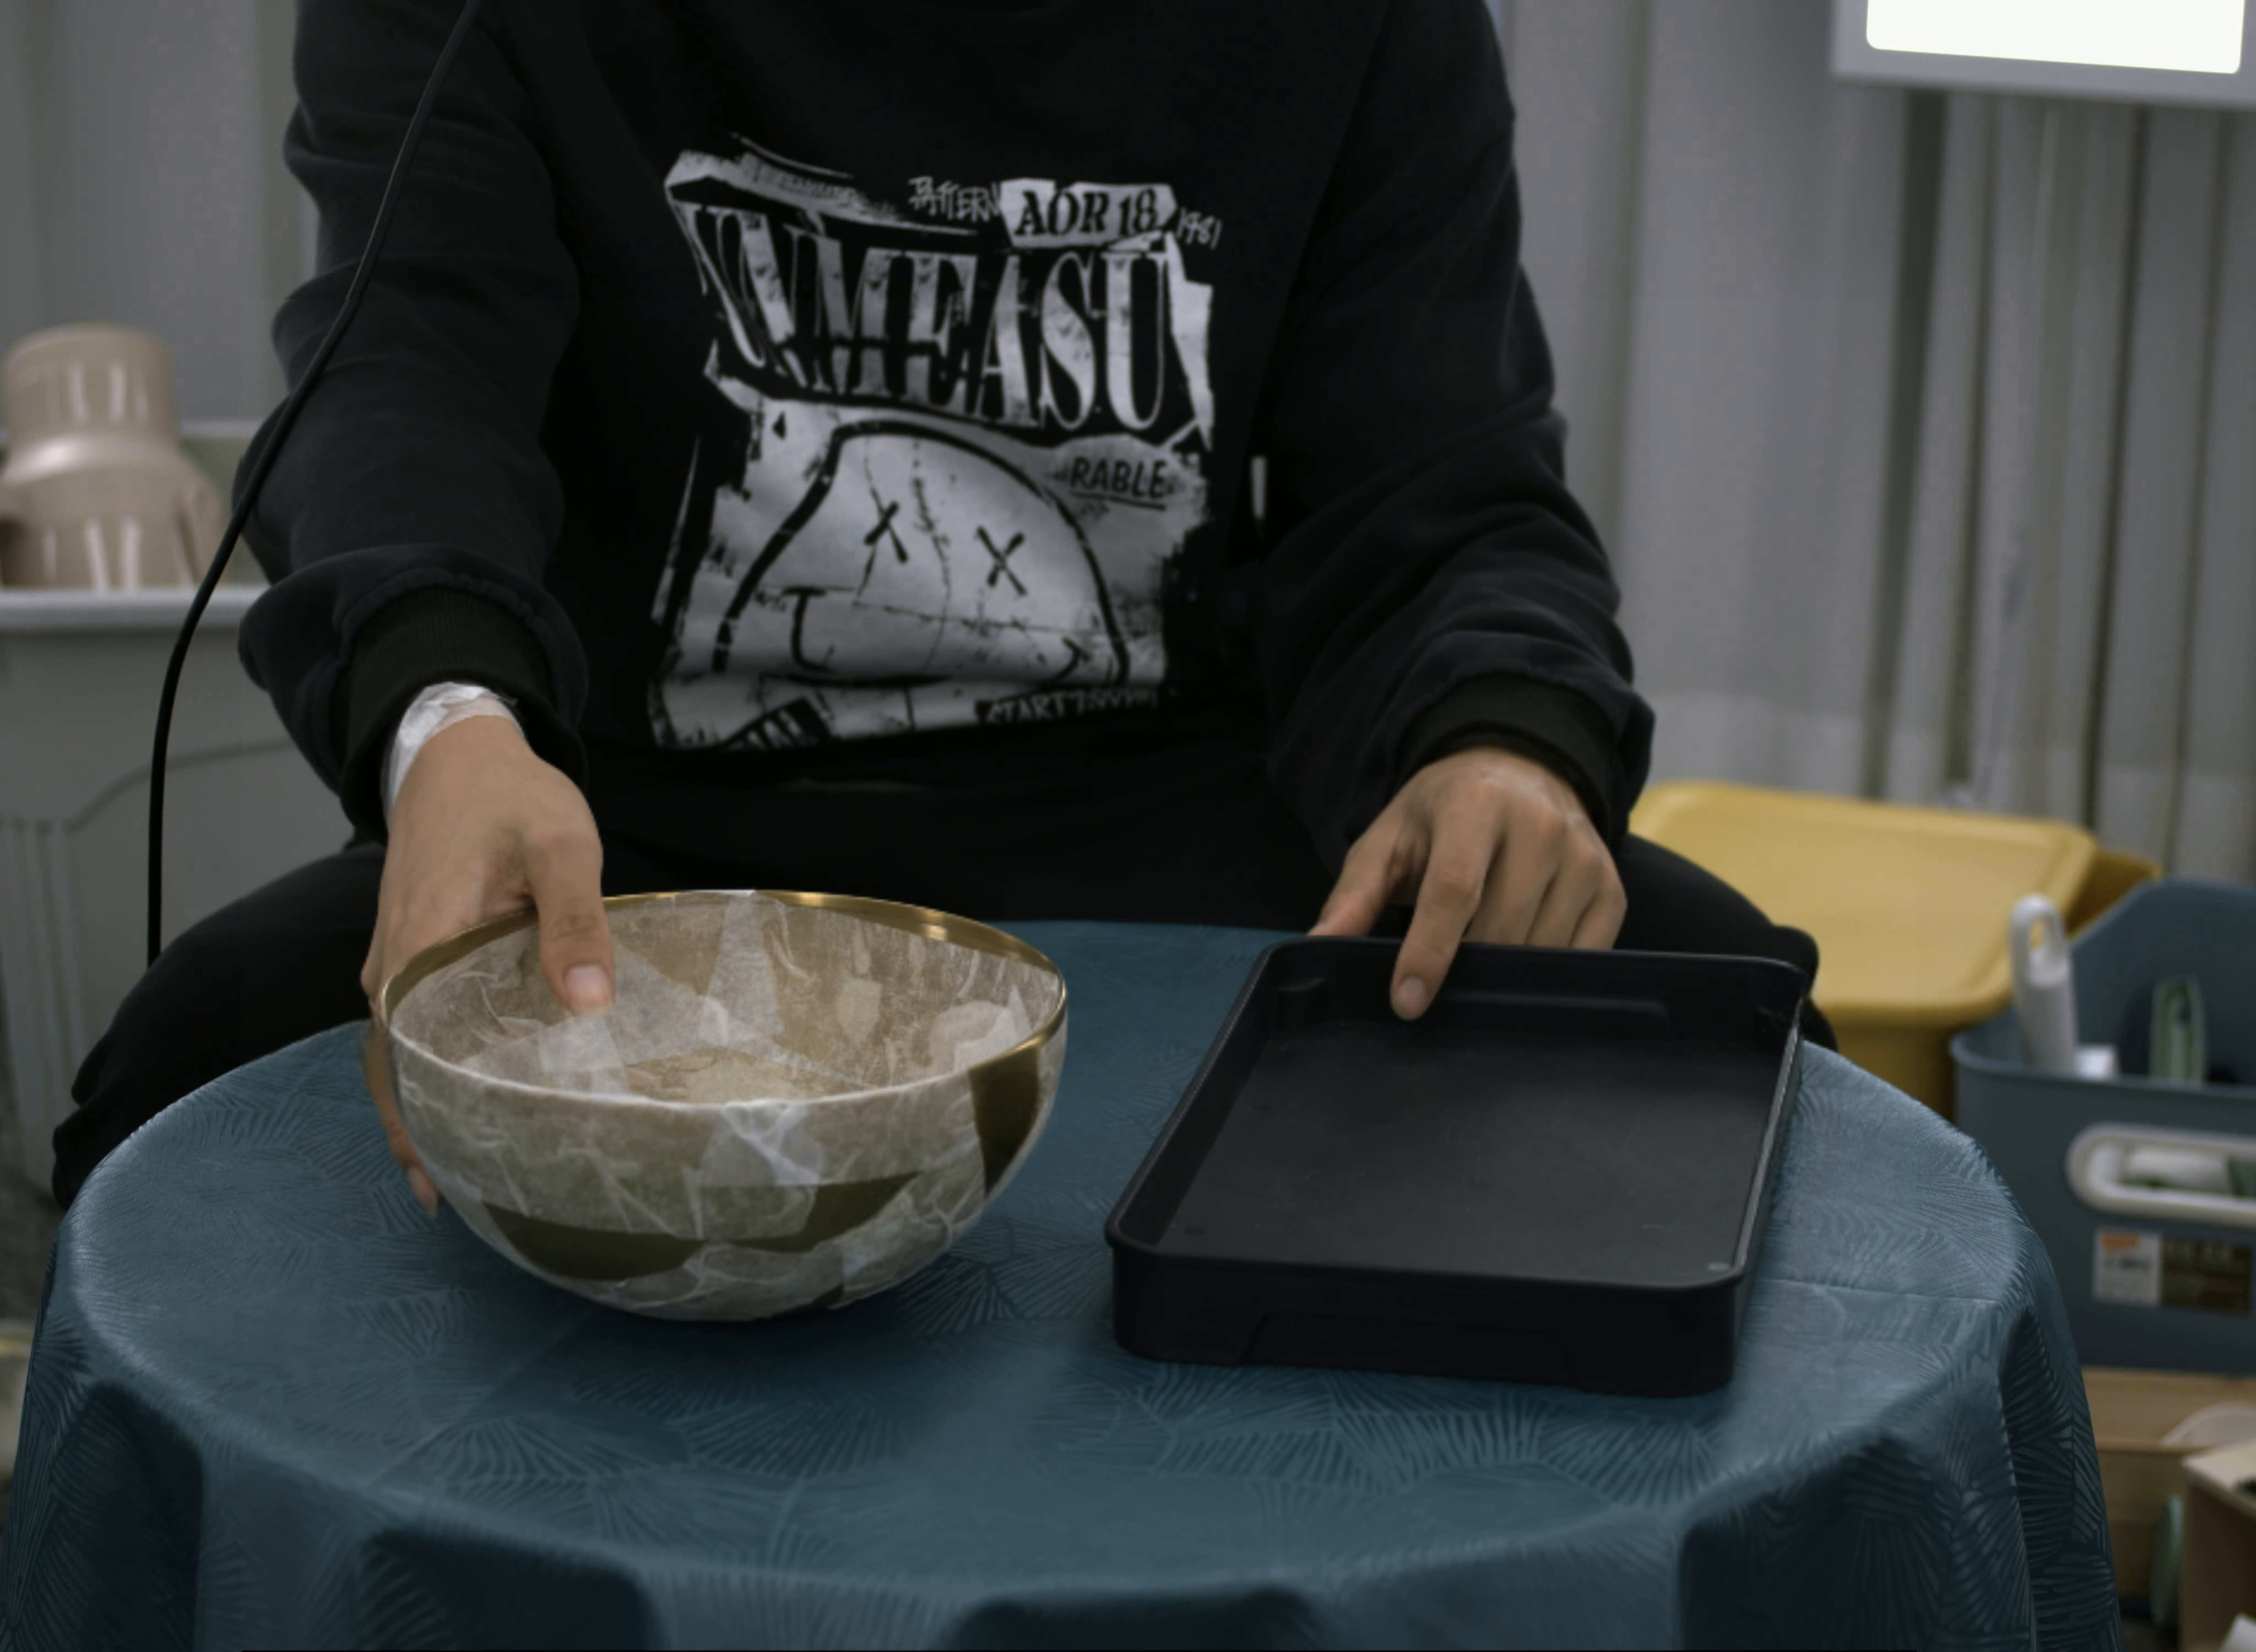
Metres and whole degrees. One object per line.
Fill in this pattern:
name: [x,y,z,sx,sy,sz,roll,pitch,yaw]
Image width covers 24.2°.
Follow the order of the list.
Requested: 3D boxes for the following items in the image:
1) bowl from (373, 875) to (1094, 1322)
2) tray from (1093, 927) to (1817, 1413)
bowl: [-0.114,0.088,1.536,0.214,0.095,0.213,0,17,1]
tray: [0.108,0.099,1.618,0.183,0.037,0.317,4,17,11]
